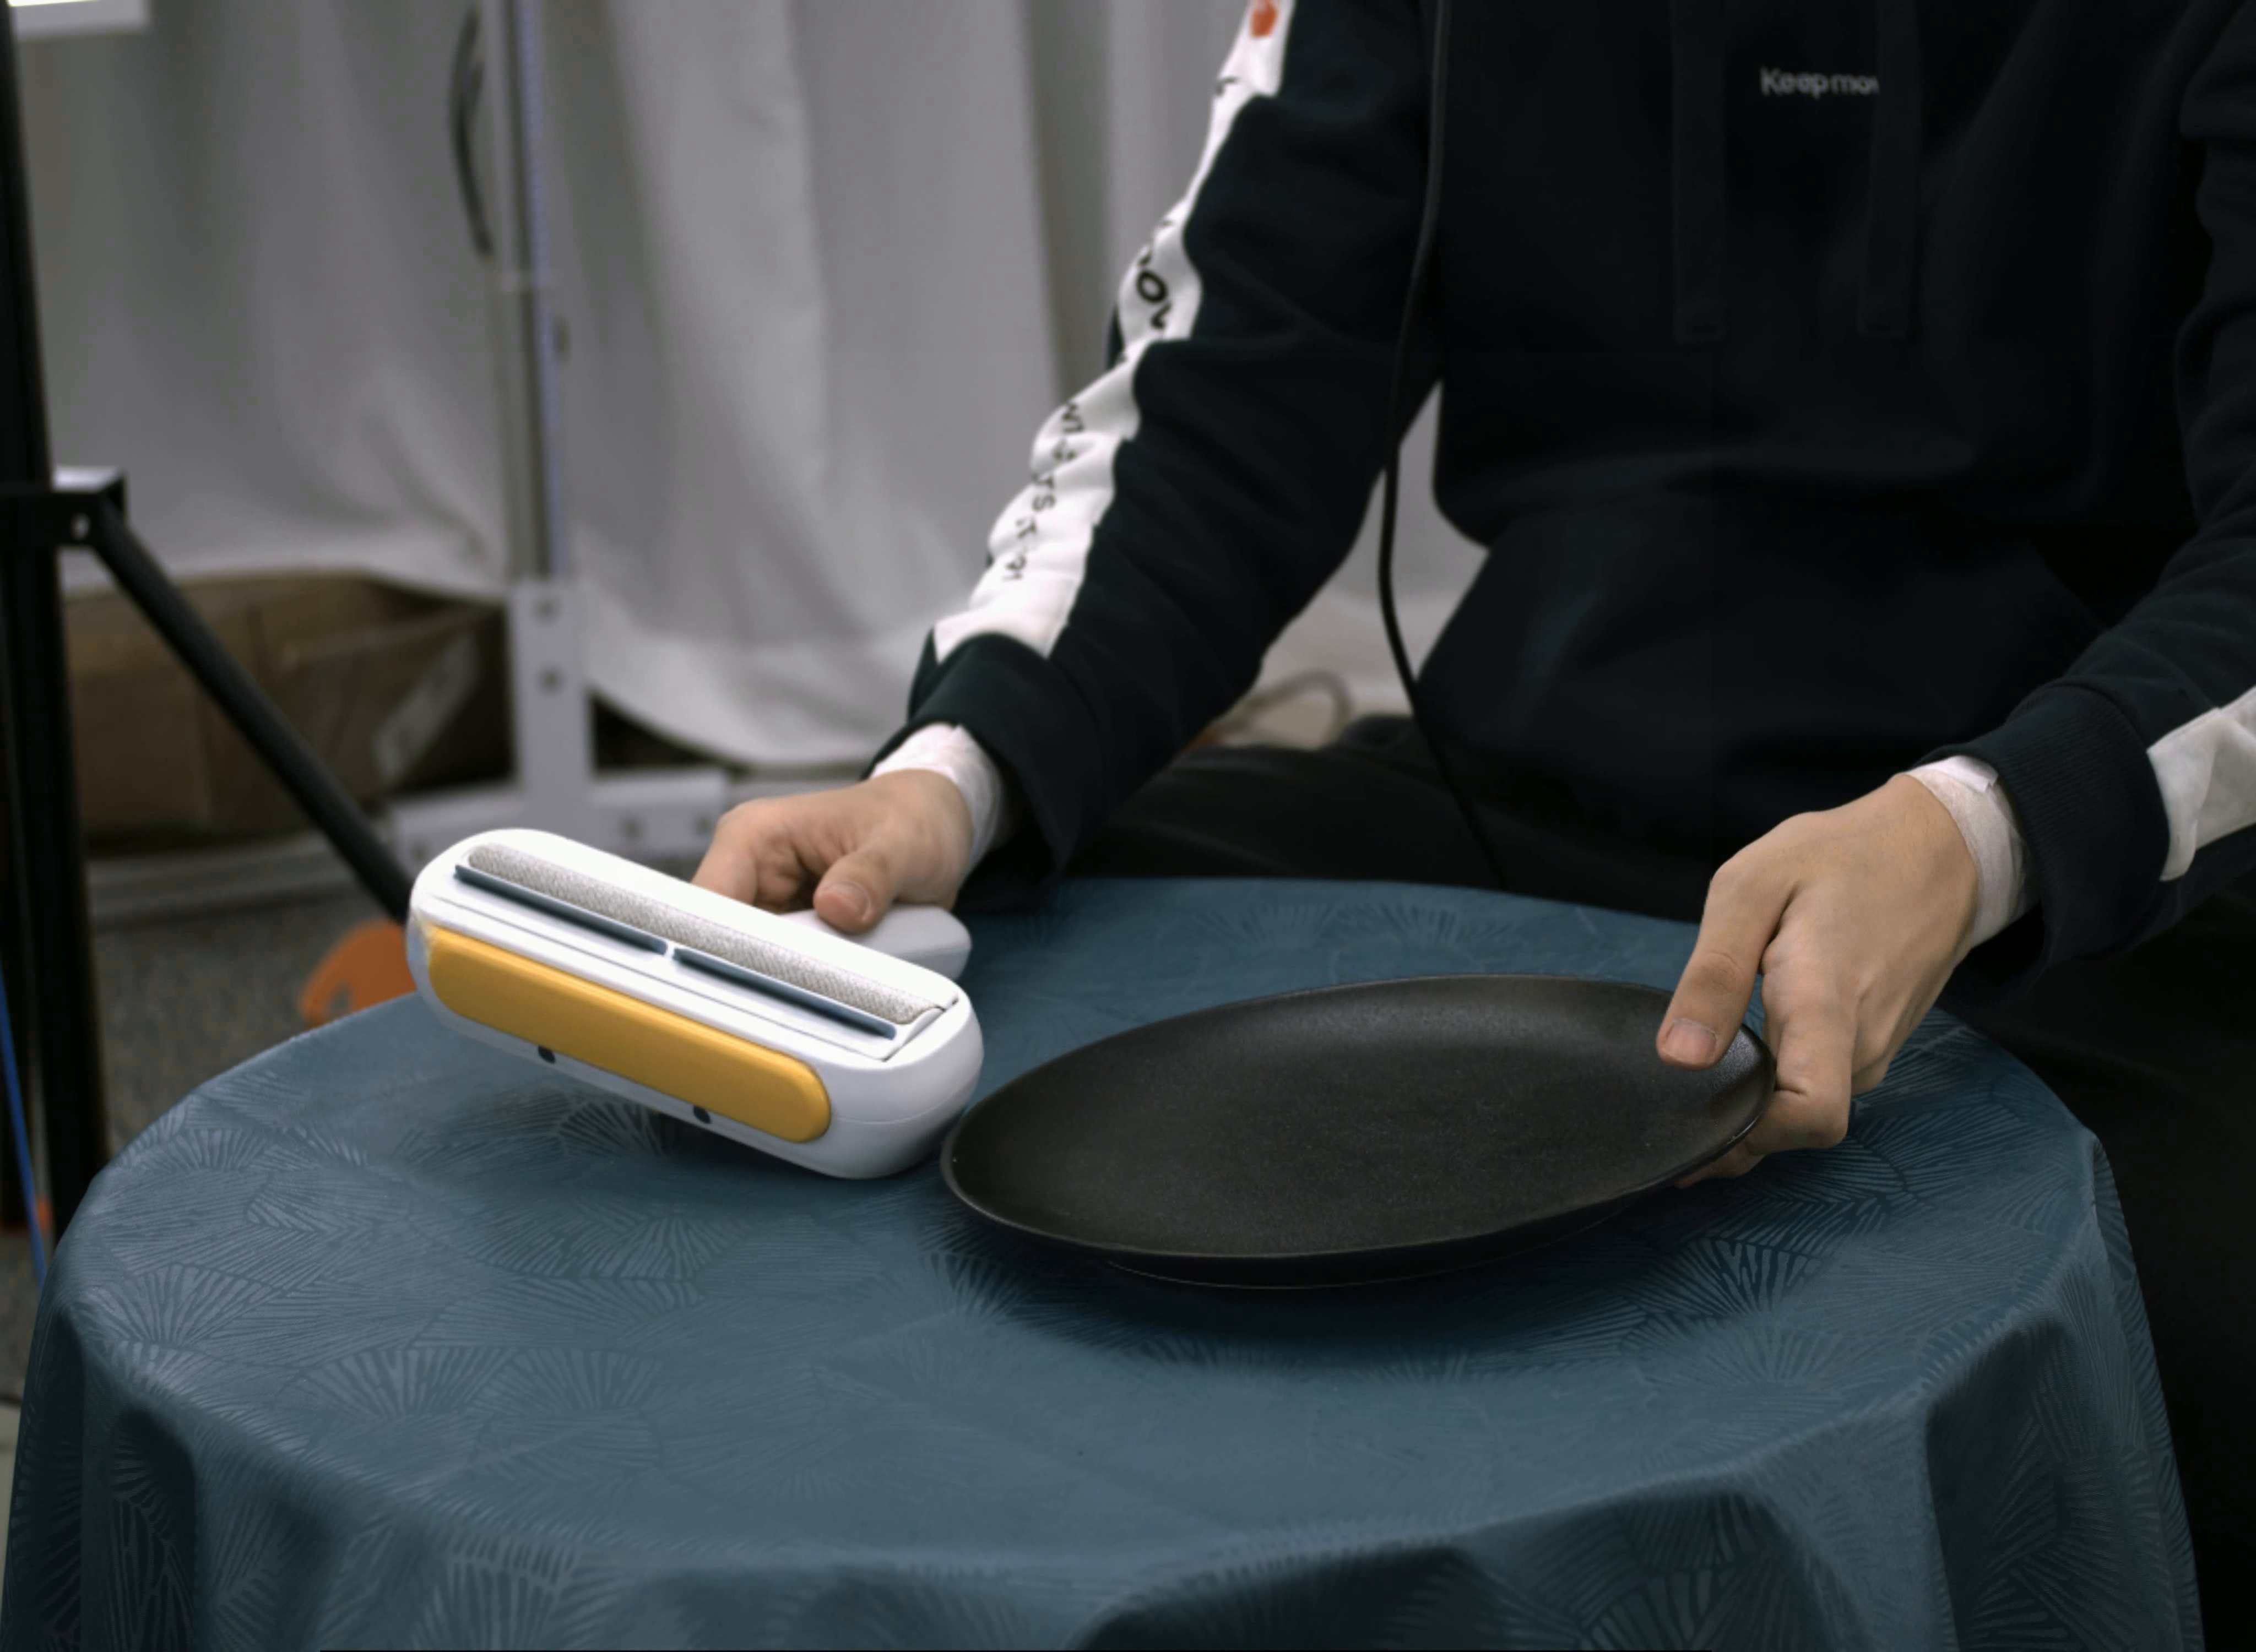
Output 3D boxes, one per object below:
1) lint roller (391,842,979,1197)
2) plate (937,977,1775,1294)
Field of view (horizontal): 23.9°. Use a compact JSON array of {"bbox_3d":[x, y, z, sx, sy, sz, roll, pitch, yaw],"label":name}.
[{"bbox_3d":[-0.110,0.062,1.676,0.197,0.074,0.188,19,13,33],"label":"lint roller"},{"bbox_3d":[0.067,0.092,1.534,0.243,0.023,0.245,-8,15,1],"label":"plate"}]
